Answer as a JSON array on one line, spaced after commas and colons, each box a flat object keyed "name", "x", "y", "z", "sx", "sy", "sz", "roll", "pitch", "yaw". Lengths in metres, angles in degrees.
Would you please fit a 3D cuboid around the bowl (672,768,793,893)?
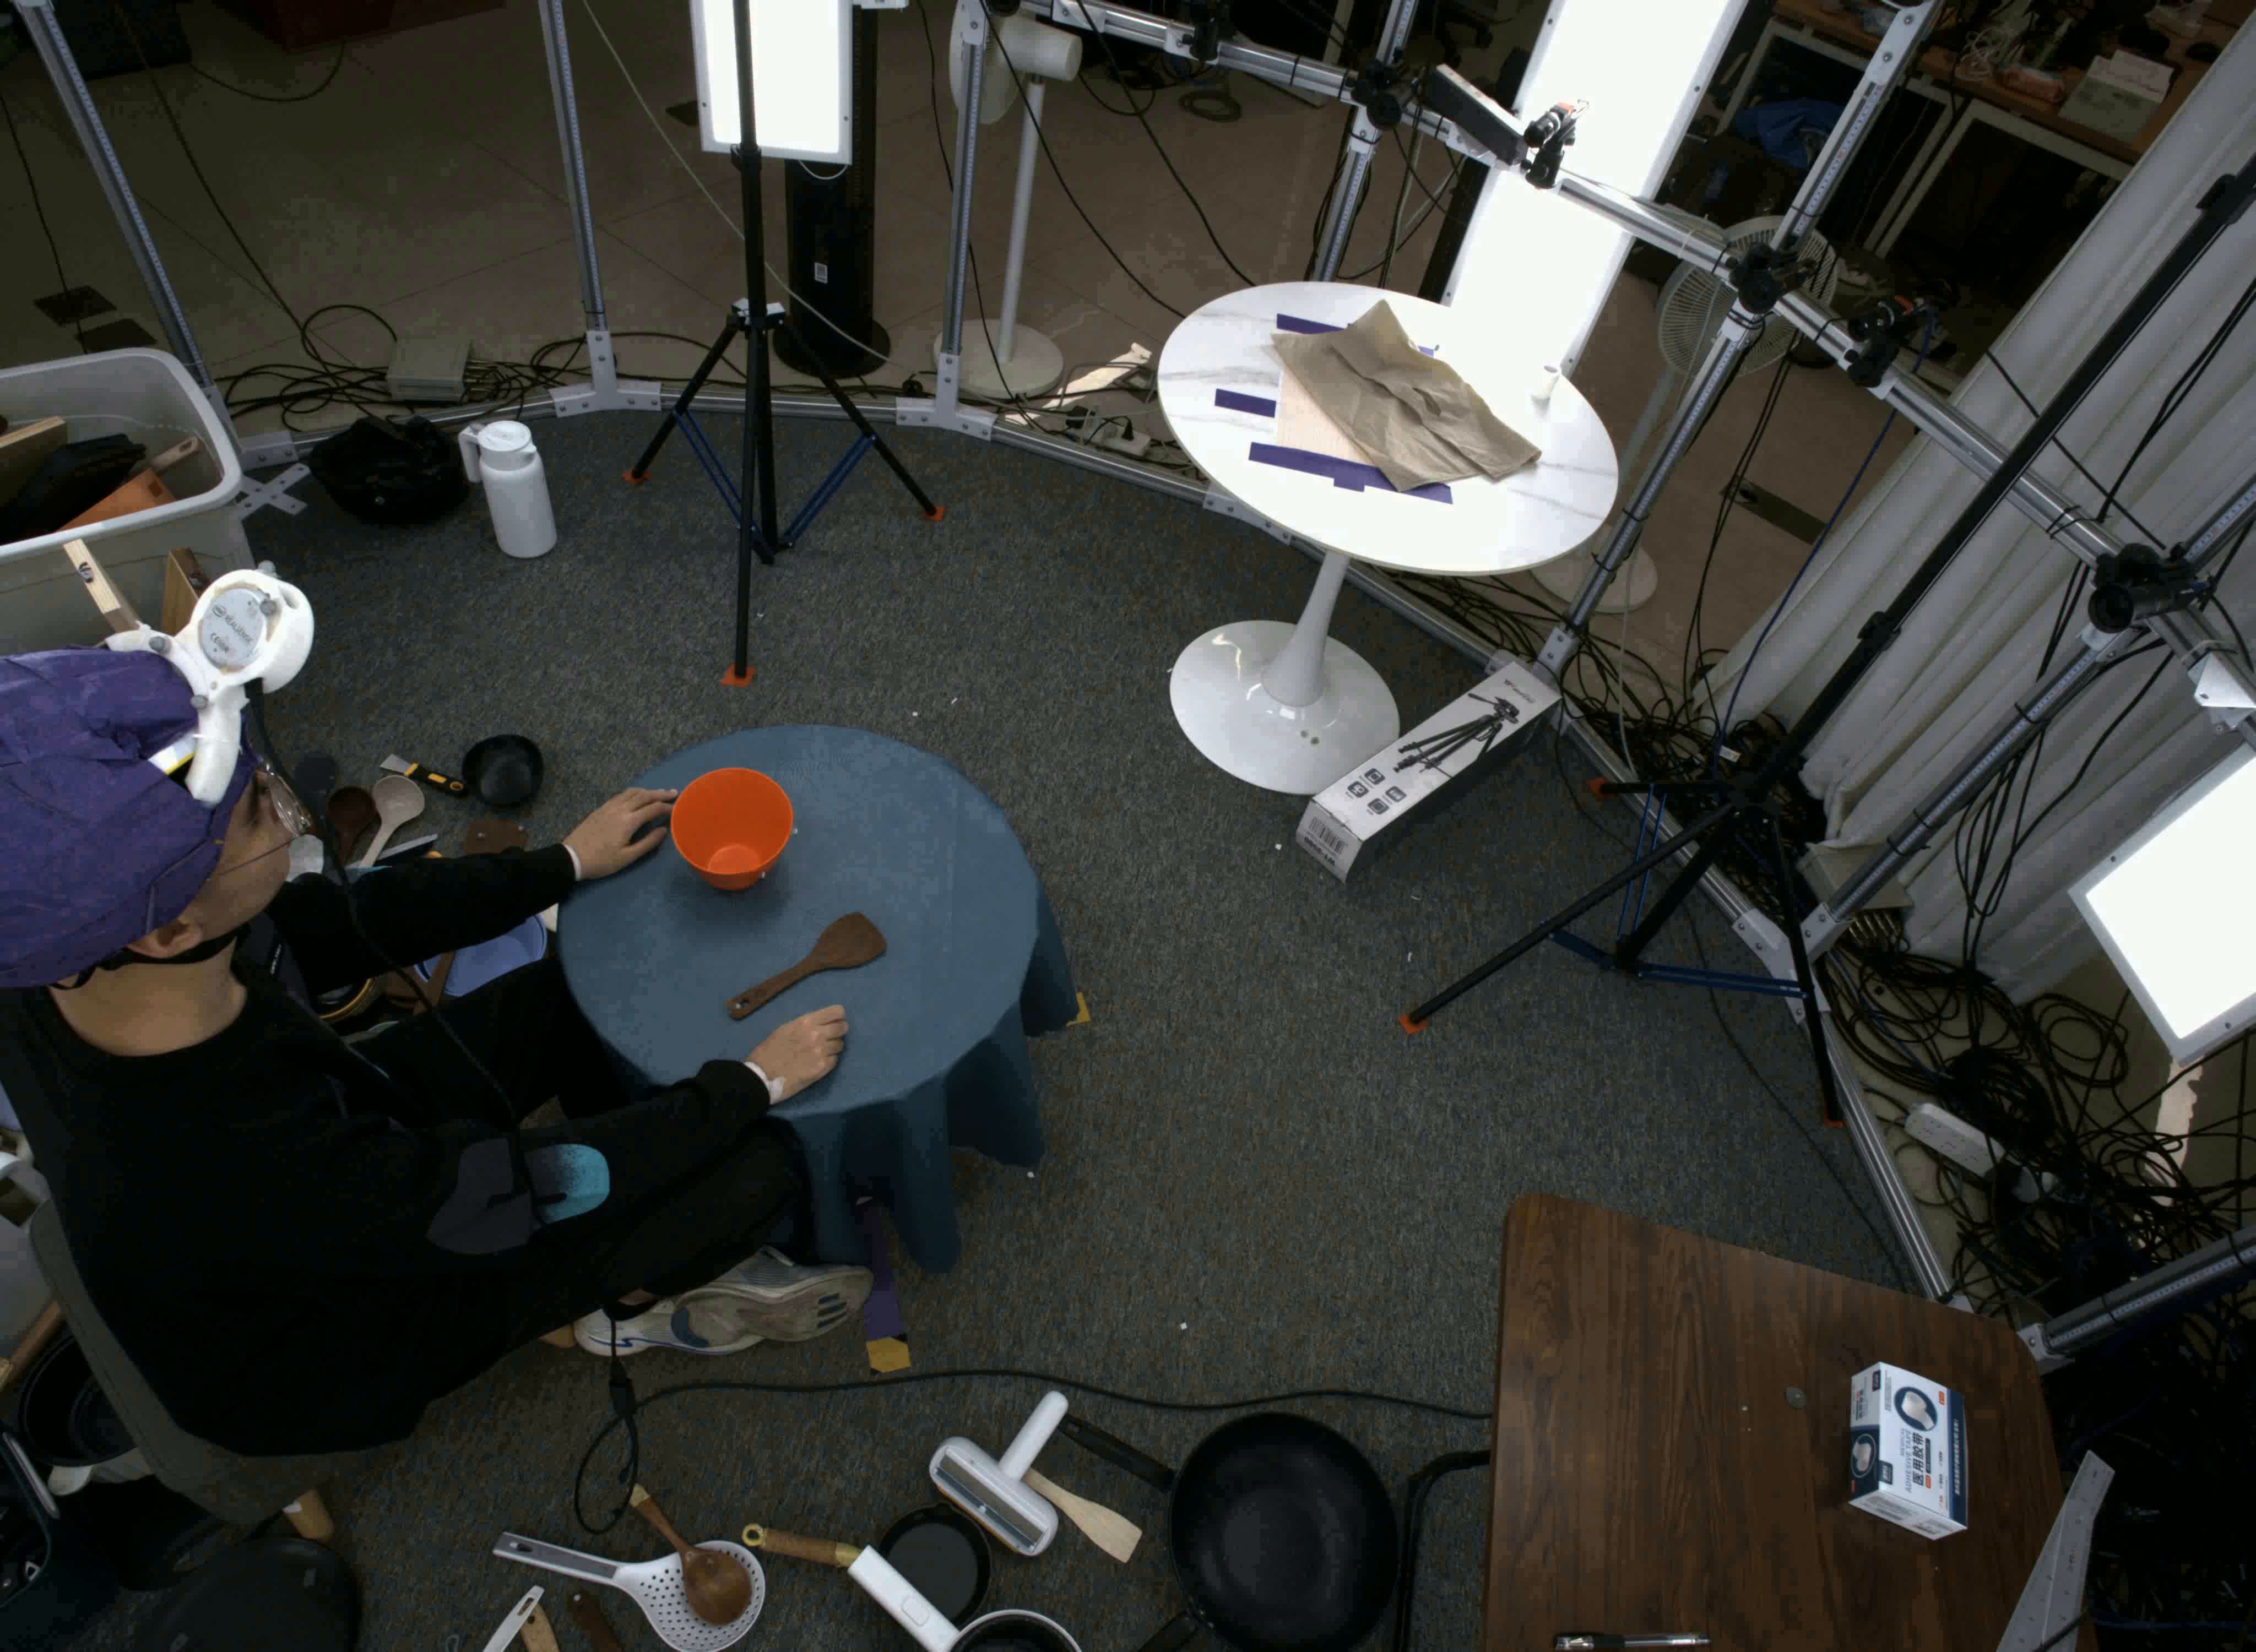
[{"name": "bowl", "x": -0.496, "y": 0.017, "z": 1.634, "sx": 0.148, "sy": 0.107, "sz": 0.145, "roll": 7, "pitch": 54, "yaw": -8}]

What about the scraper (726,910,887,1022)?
[{"name": "scraper", "x": -0.399, "y": 0.175, "z": 1.600, "sx": 0.212, "sy": 0.011, "sz": 0.074, "roll": -32, "pitch": 66, "yaw": -31}]
